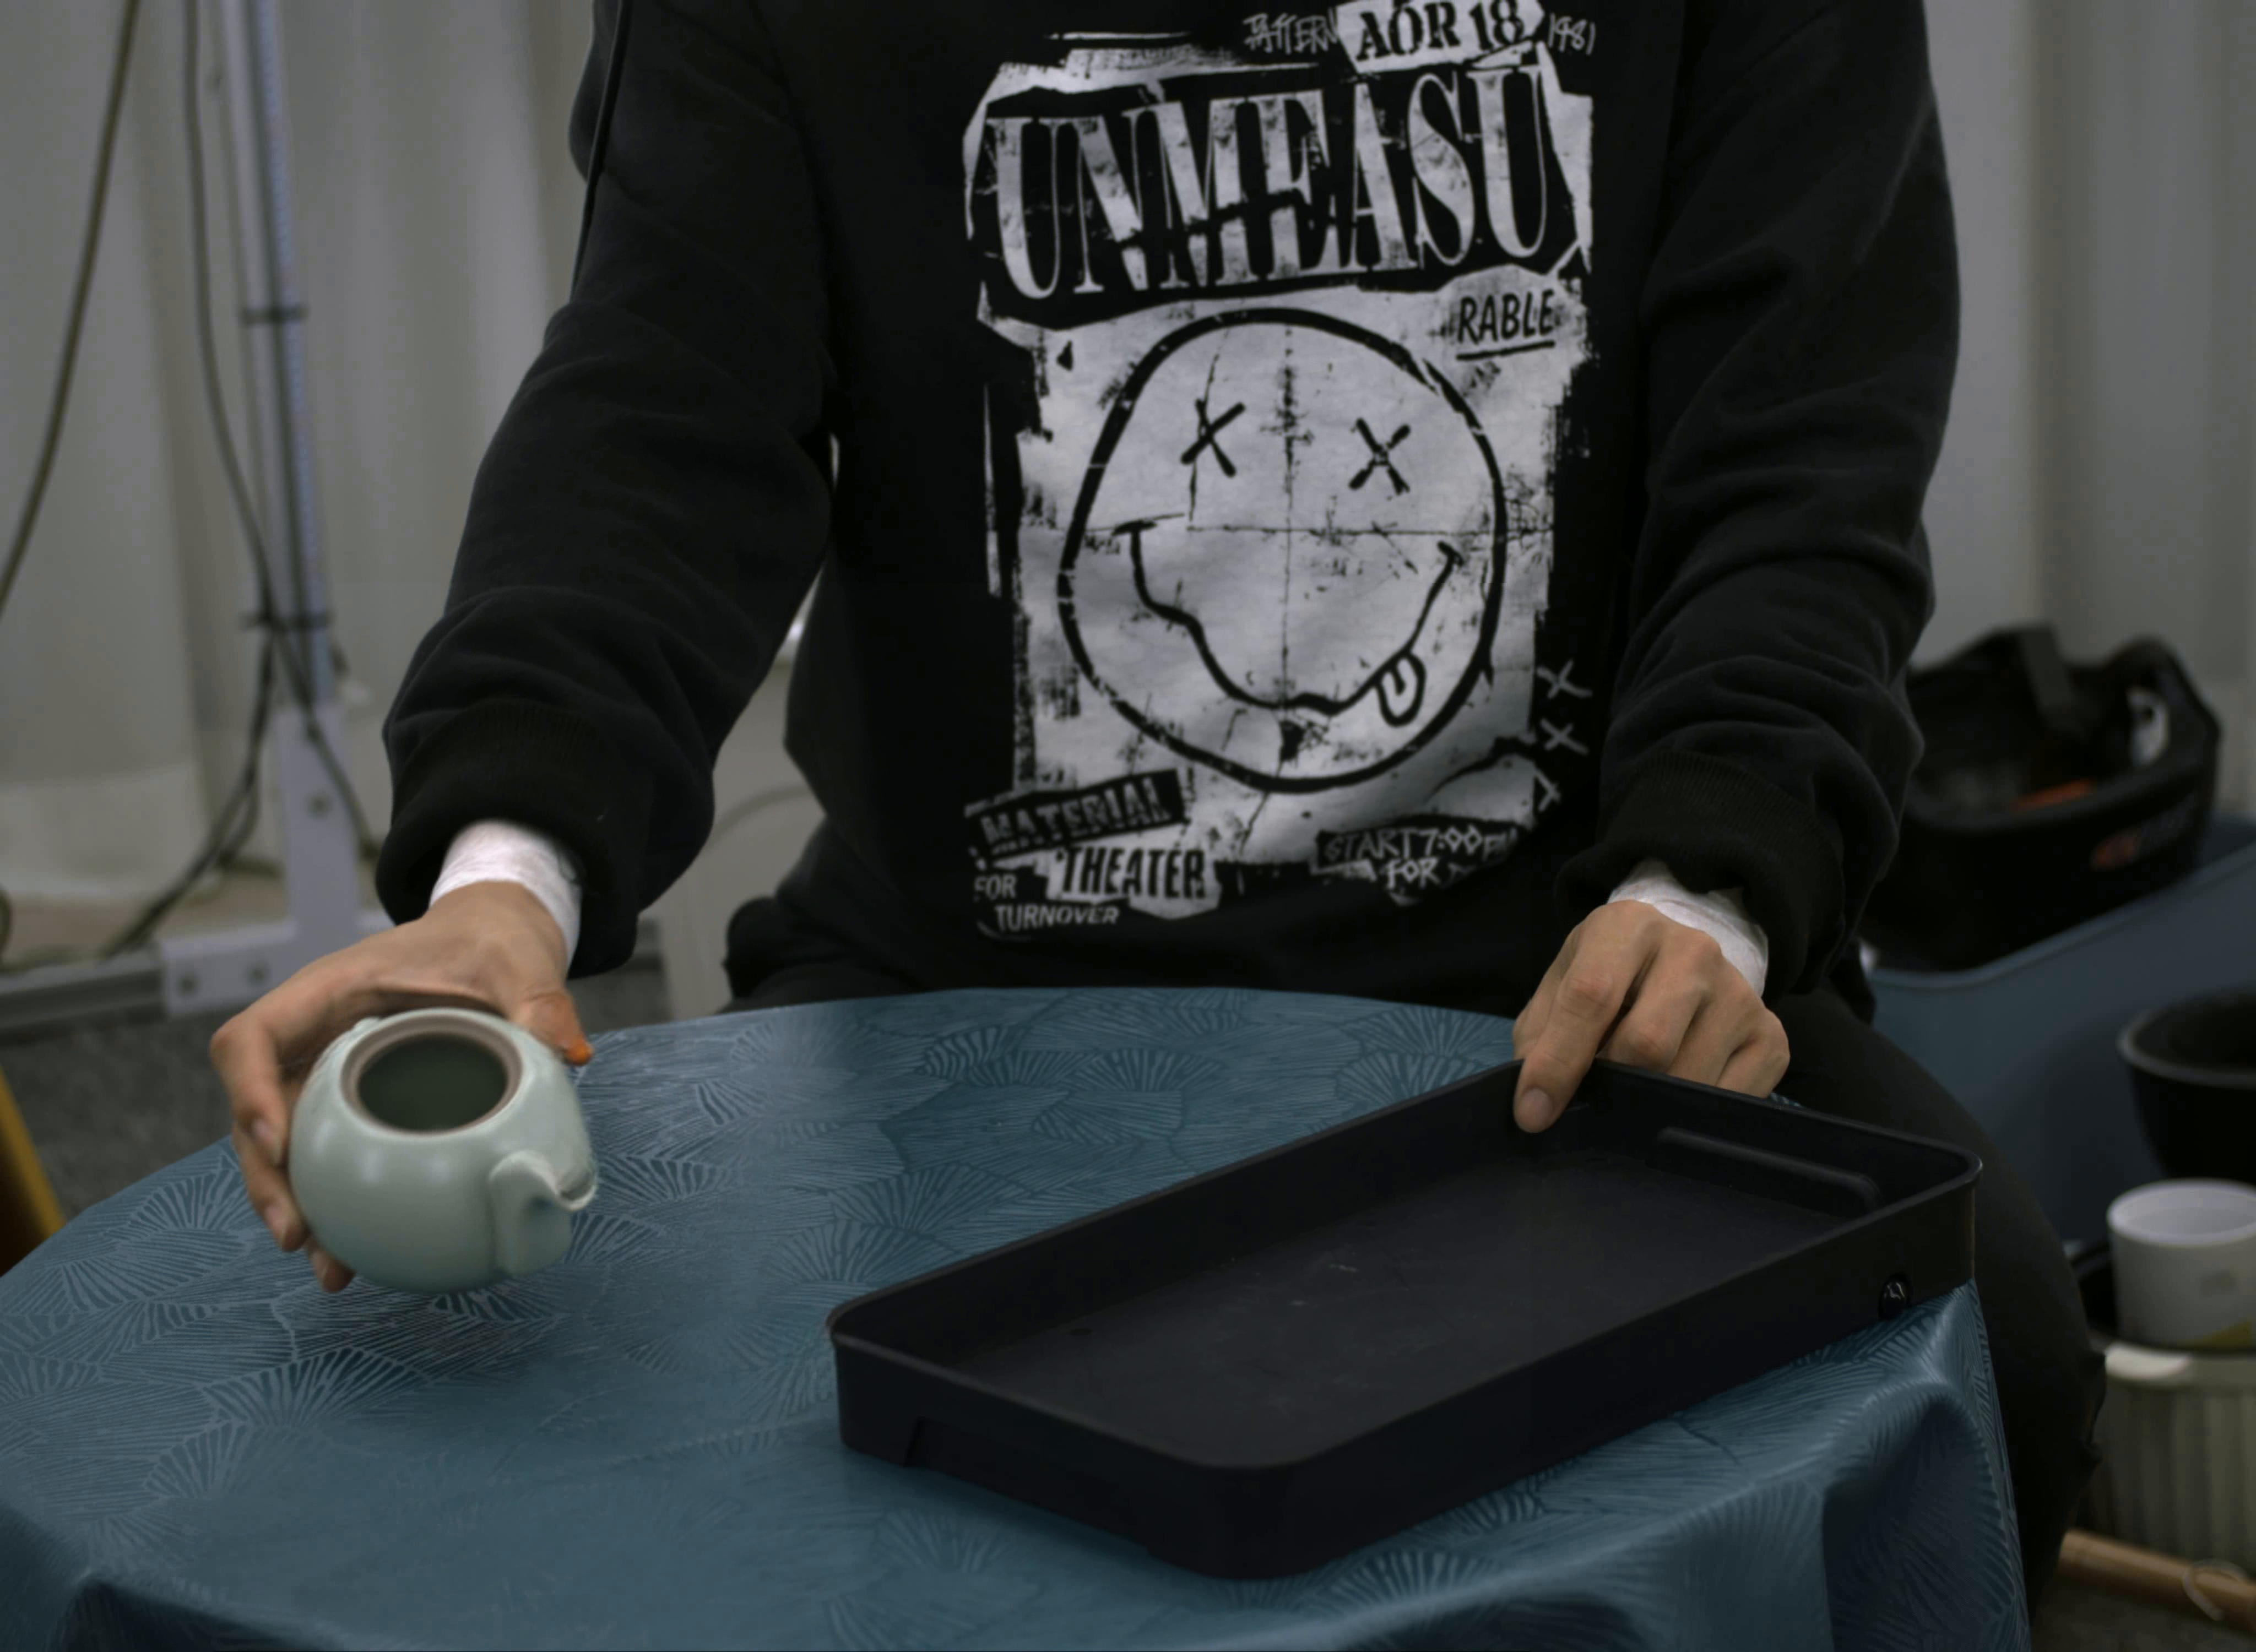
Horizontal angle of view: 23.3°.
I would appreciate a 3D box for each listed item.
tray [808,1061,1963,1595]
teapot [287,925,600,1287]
[{"bbox_3d":[0.078,0.135,1.554,0.185,0.037,0.317,12,21,43],"label":"tray"},{"bbox_3d":[-0.199,0.092,1.599,0.088,0.074,0.145,-26,48,-31],"label":"teapot"}]
